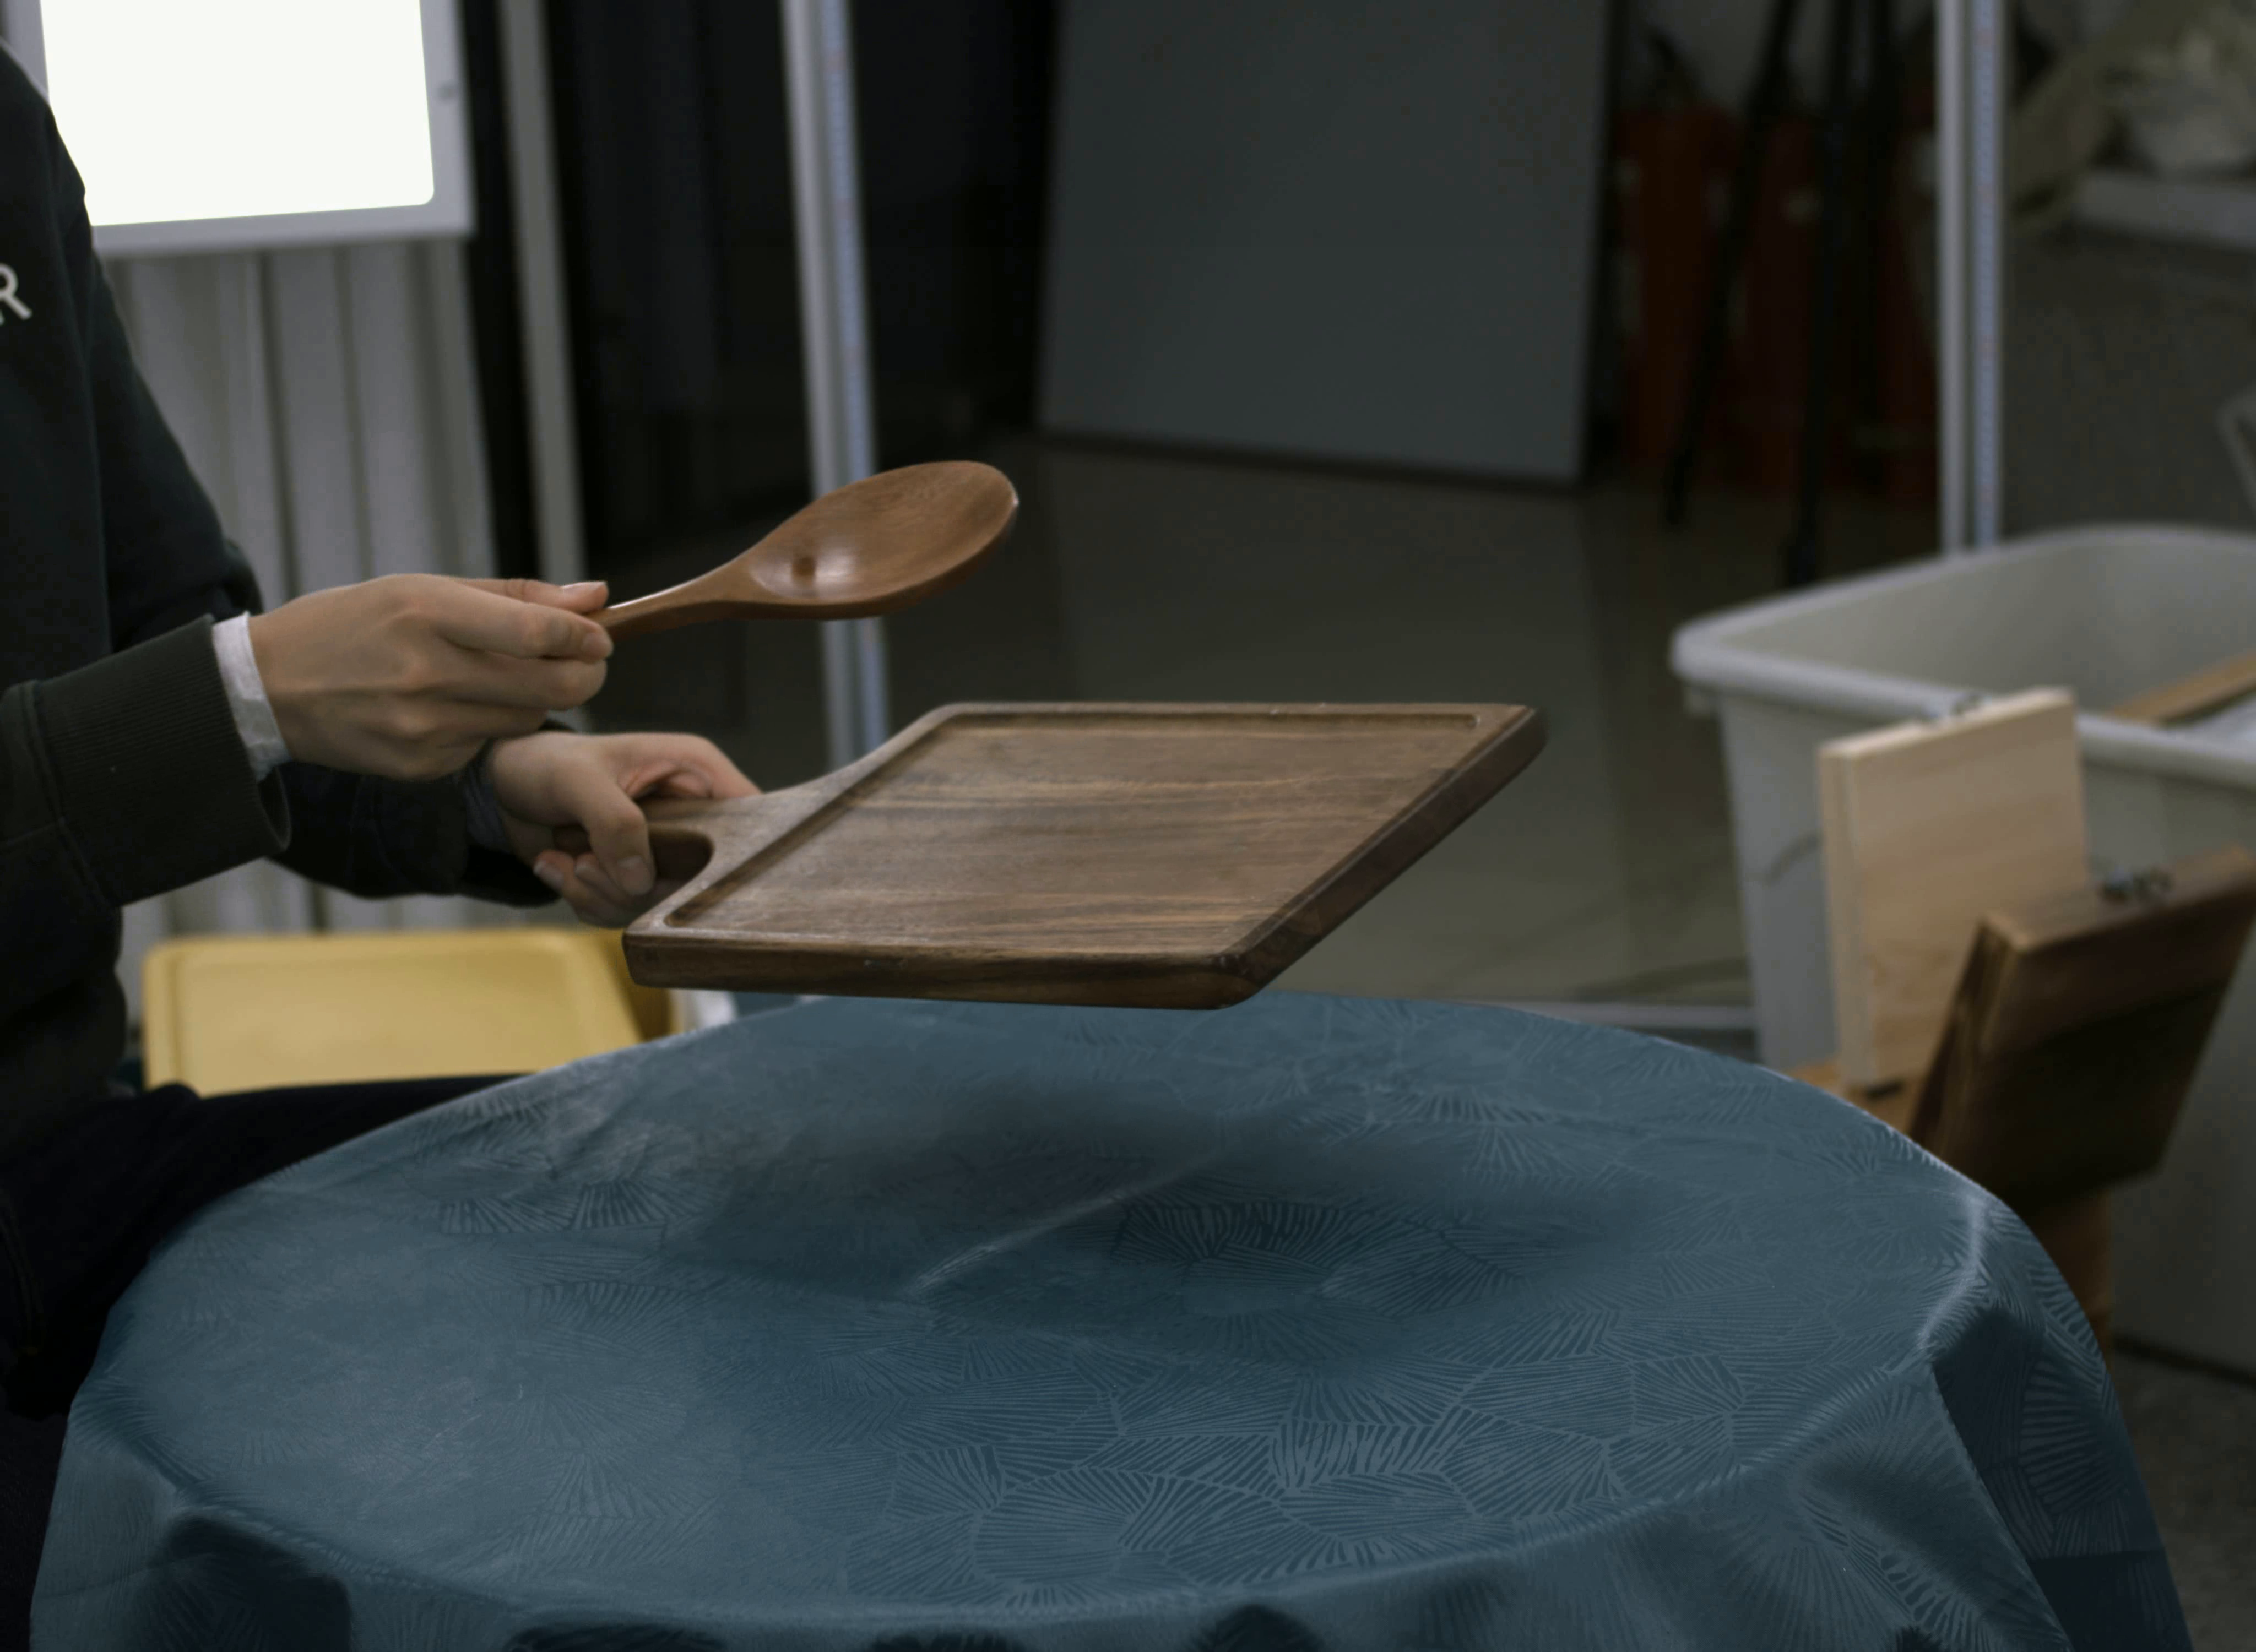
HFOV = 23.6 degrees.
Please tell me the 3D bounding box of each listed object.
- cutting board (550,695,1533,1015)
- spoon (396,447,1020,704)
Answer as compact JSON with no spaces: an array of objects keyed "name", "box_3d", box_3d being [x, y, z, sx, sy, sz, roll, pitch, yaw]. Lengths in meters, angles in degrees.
[{"name":"cutting board","box_3d":[-0.055,0.007,1.798,0.354,0.023,0.198,0,26,38]},{"name":"spoon","box_3d":[-0.136,-0.076,1.765,0.214,0.017,0.076,-16,39,5]}]
